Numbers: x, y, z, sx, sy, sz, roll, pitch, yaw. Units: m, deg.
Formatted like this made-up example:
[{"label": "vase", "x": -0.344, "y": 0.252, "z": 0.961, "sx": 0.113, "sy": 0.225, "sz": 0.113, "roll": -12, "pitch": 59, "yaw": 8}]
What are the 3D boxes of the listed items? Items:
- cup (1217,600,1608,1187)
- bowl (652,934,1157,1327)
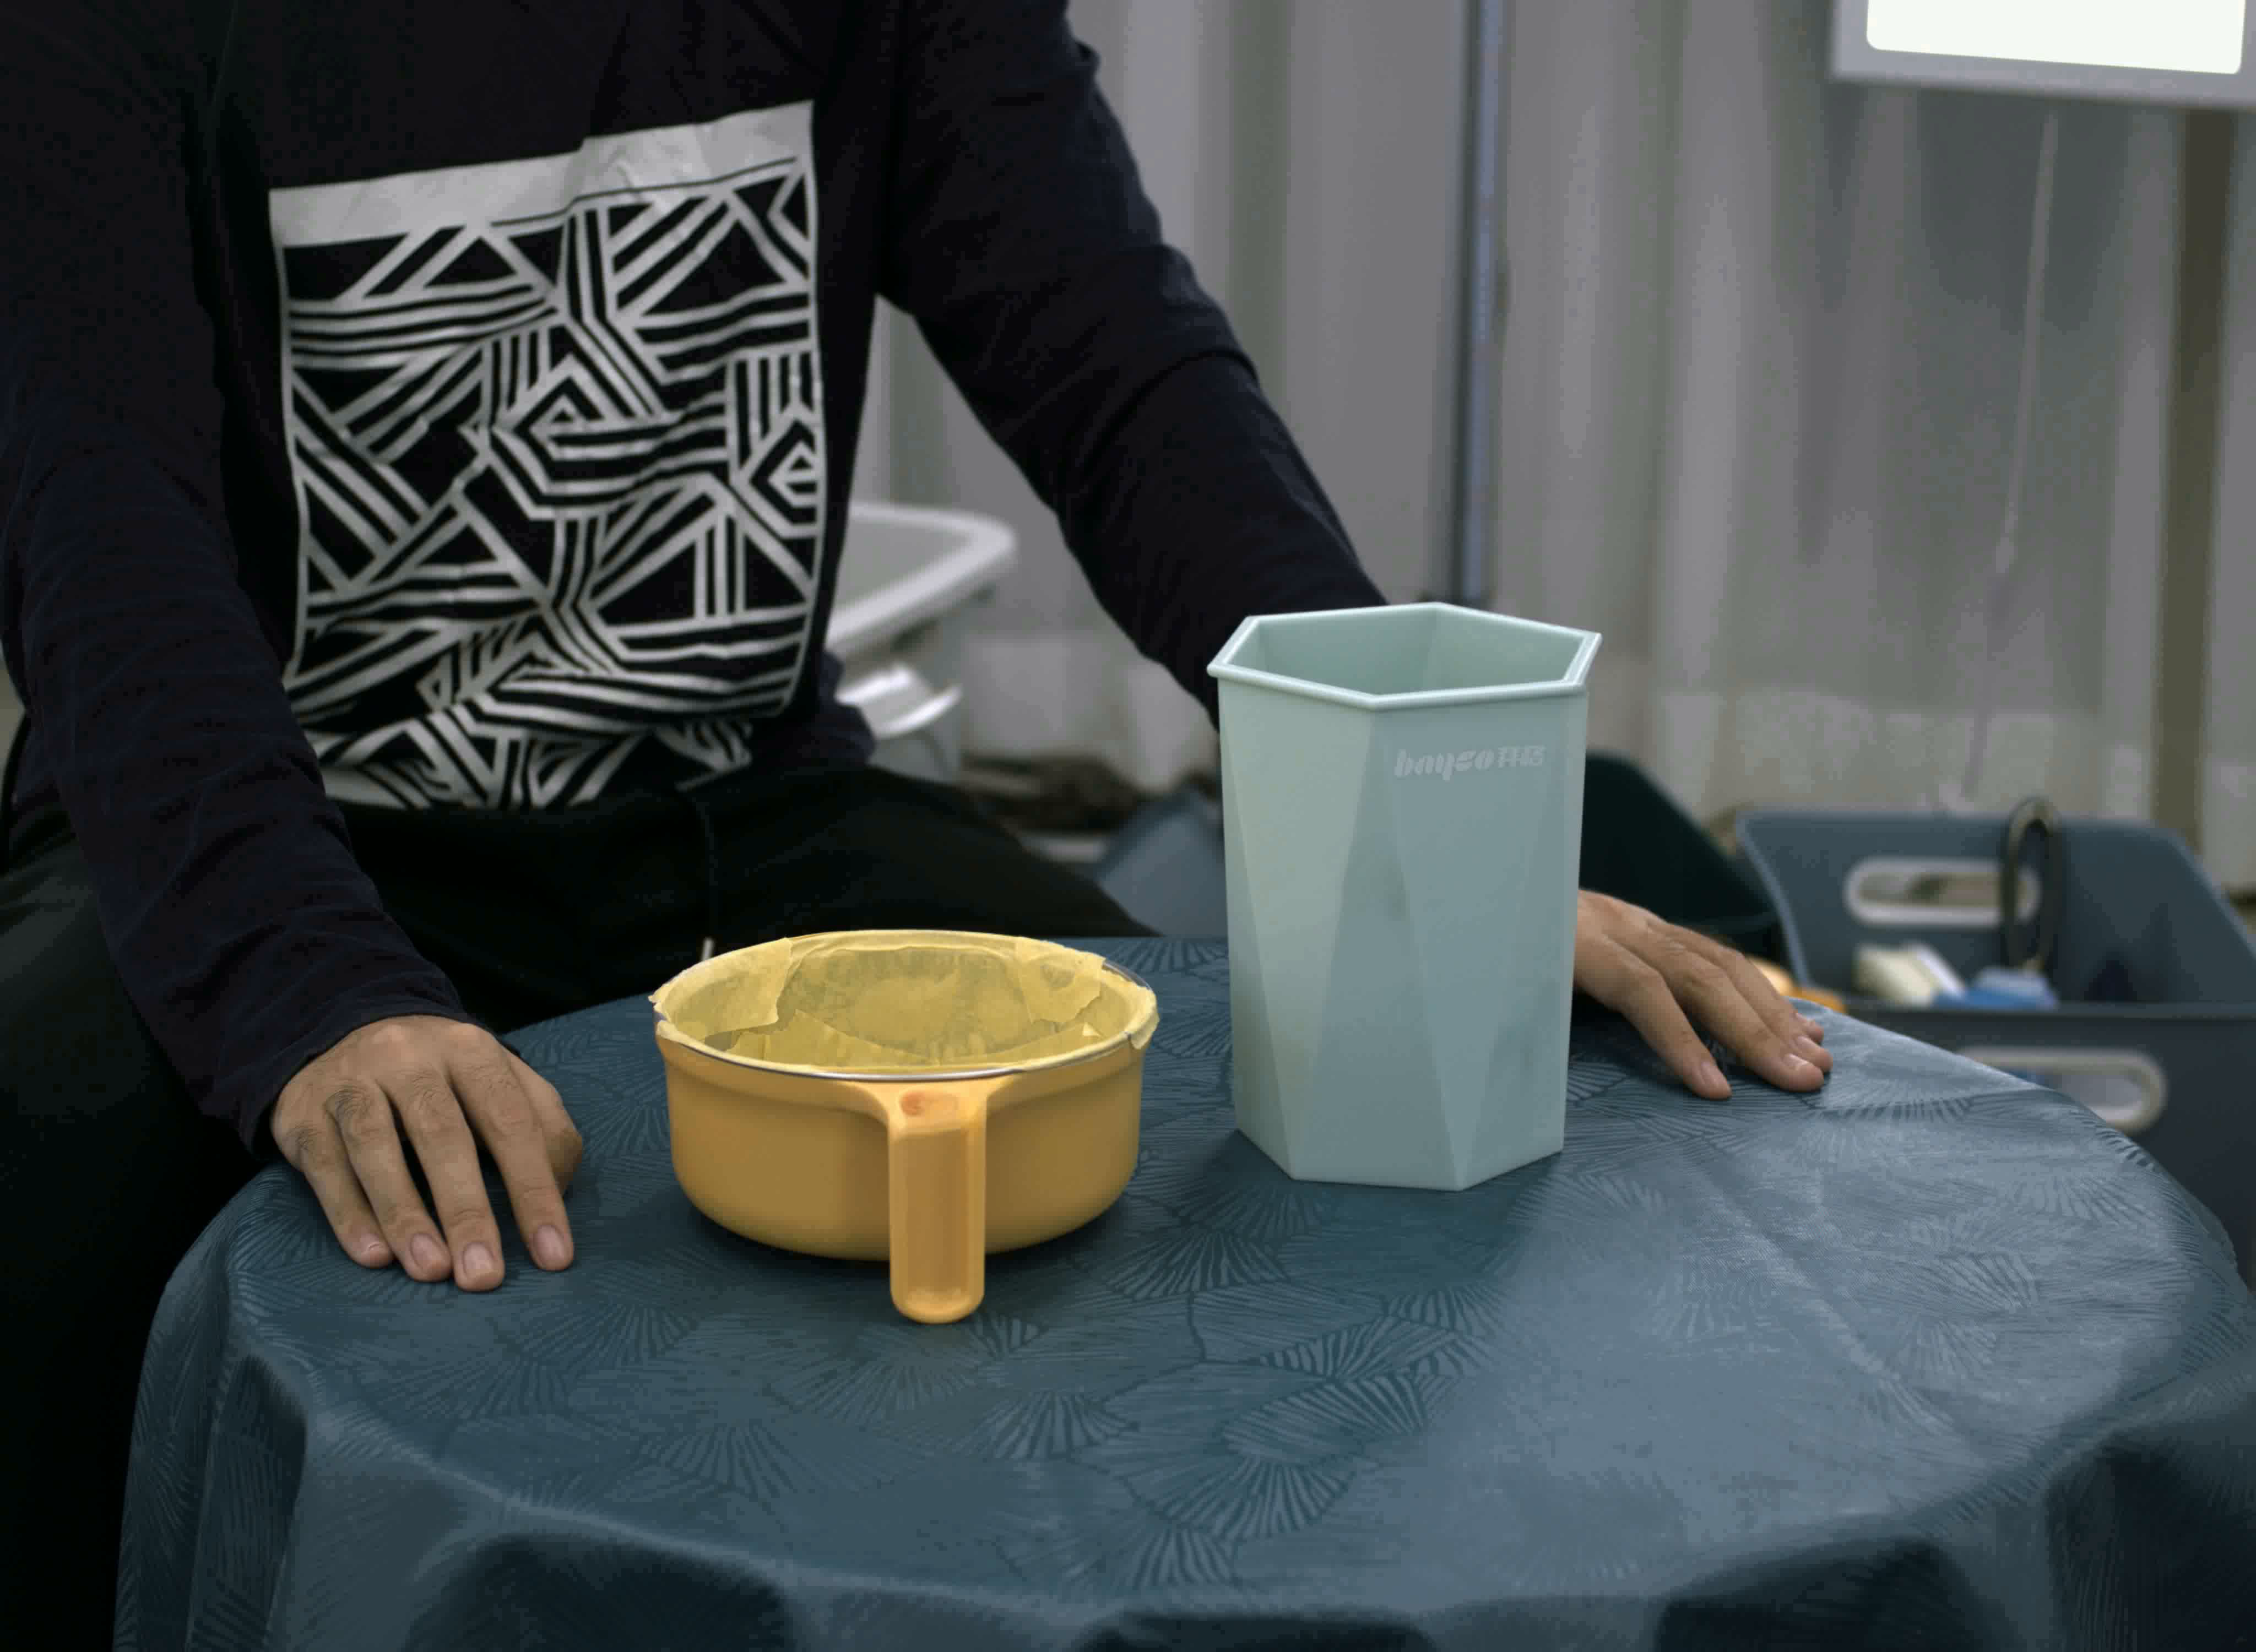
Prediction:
[{"label": "cup", "x": 0.088, "y": 0.021, "z": 1.652, "sx": 0.131, "sy": 0.164, "sz": 0.114, "roll": -5, "pitch": 16, "yaw": -20}, {"label": "bowl", "x": -0.066, "y": 0.088, "z": 1.586, "sx": 0.153, "sy": 0.075, "sz": 0.178, "roll": -3, "pitch": 14, "yaw": -11}]
